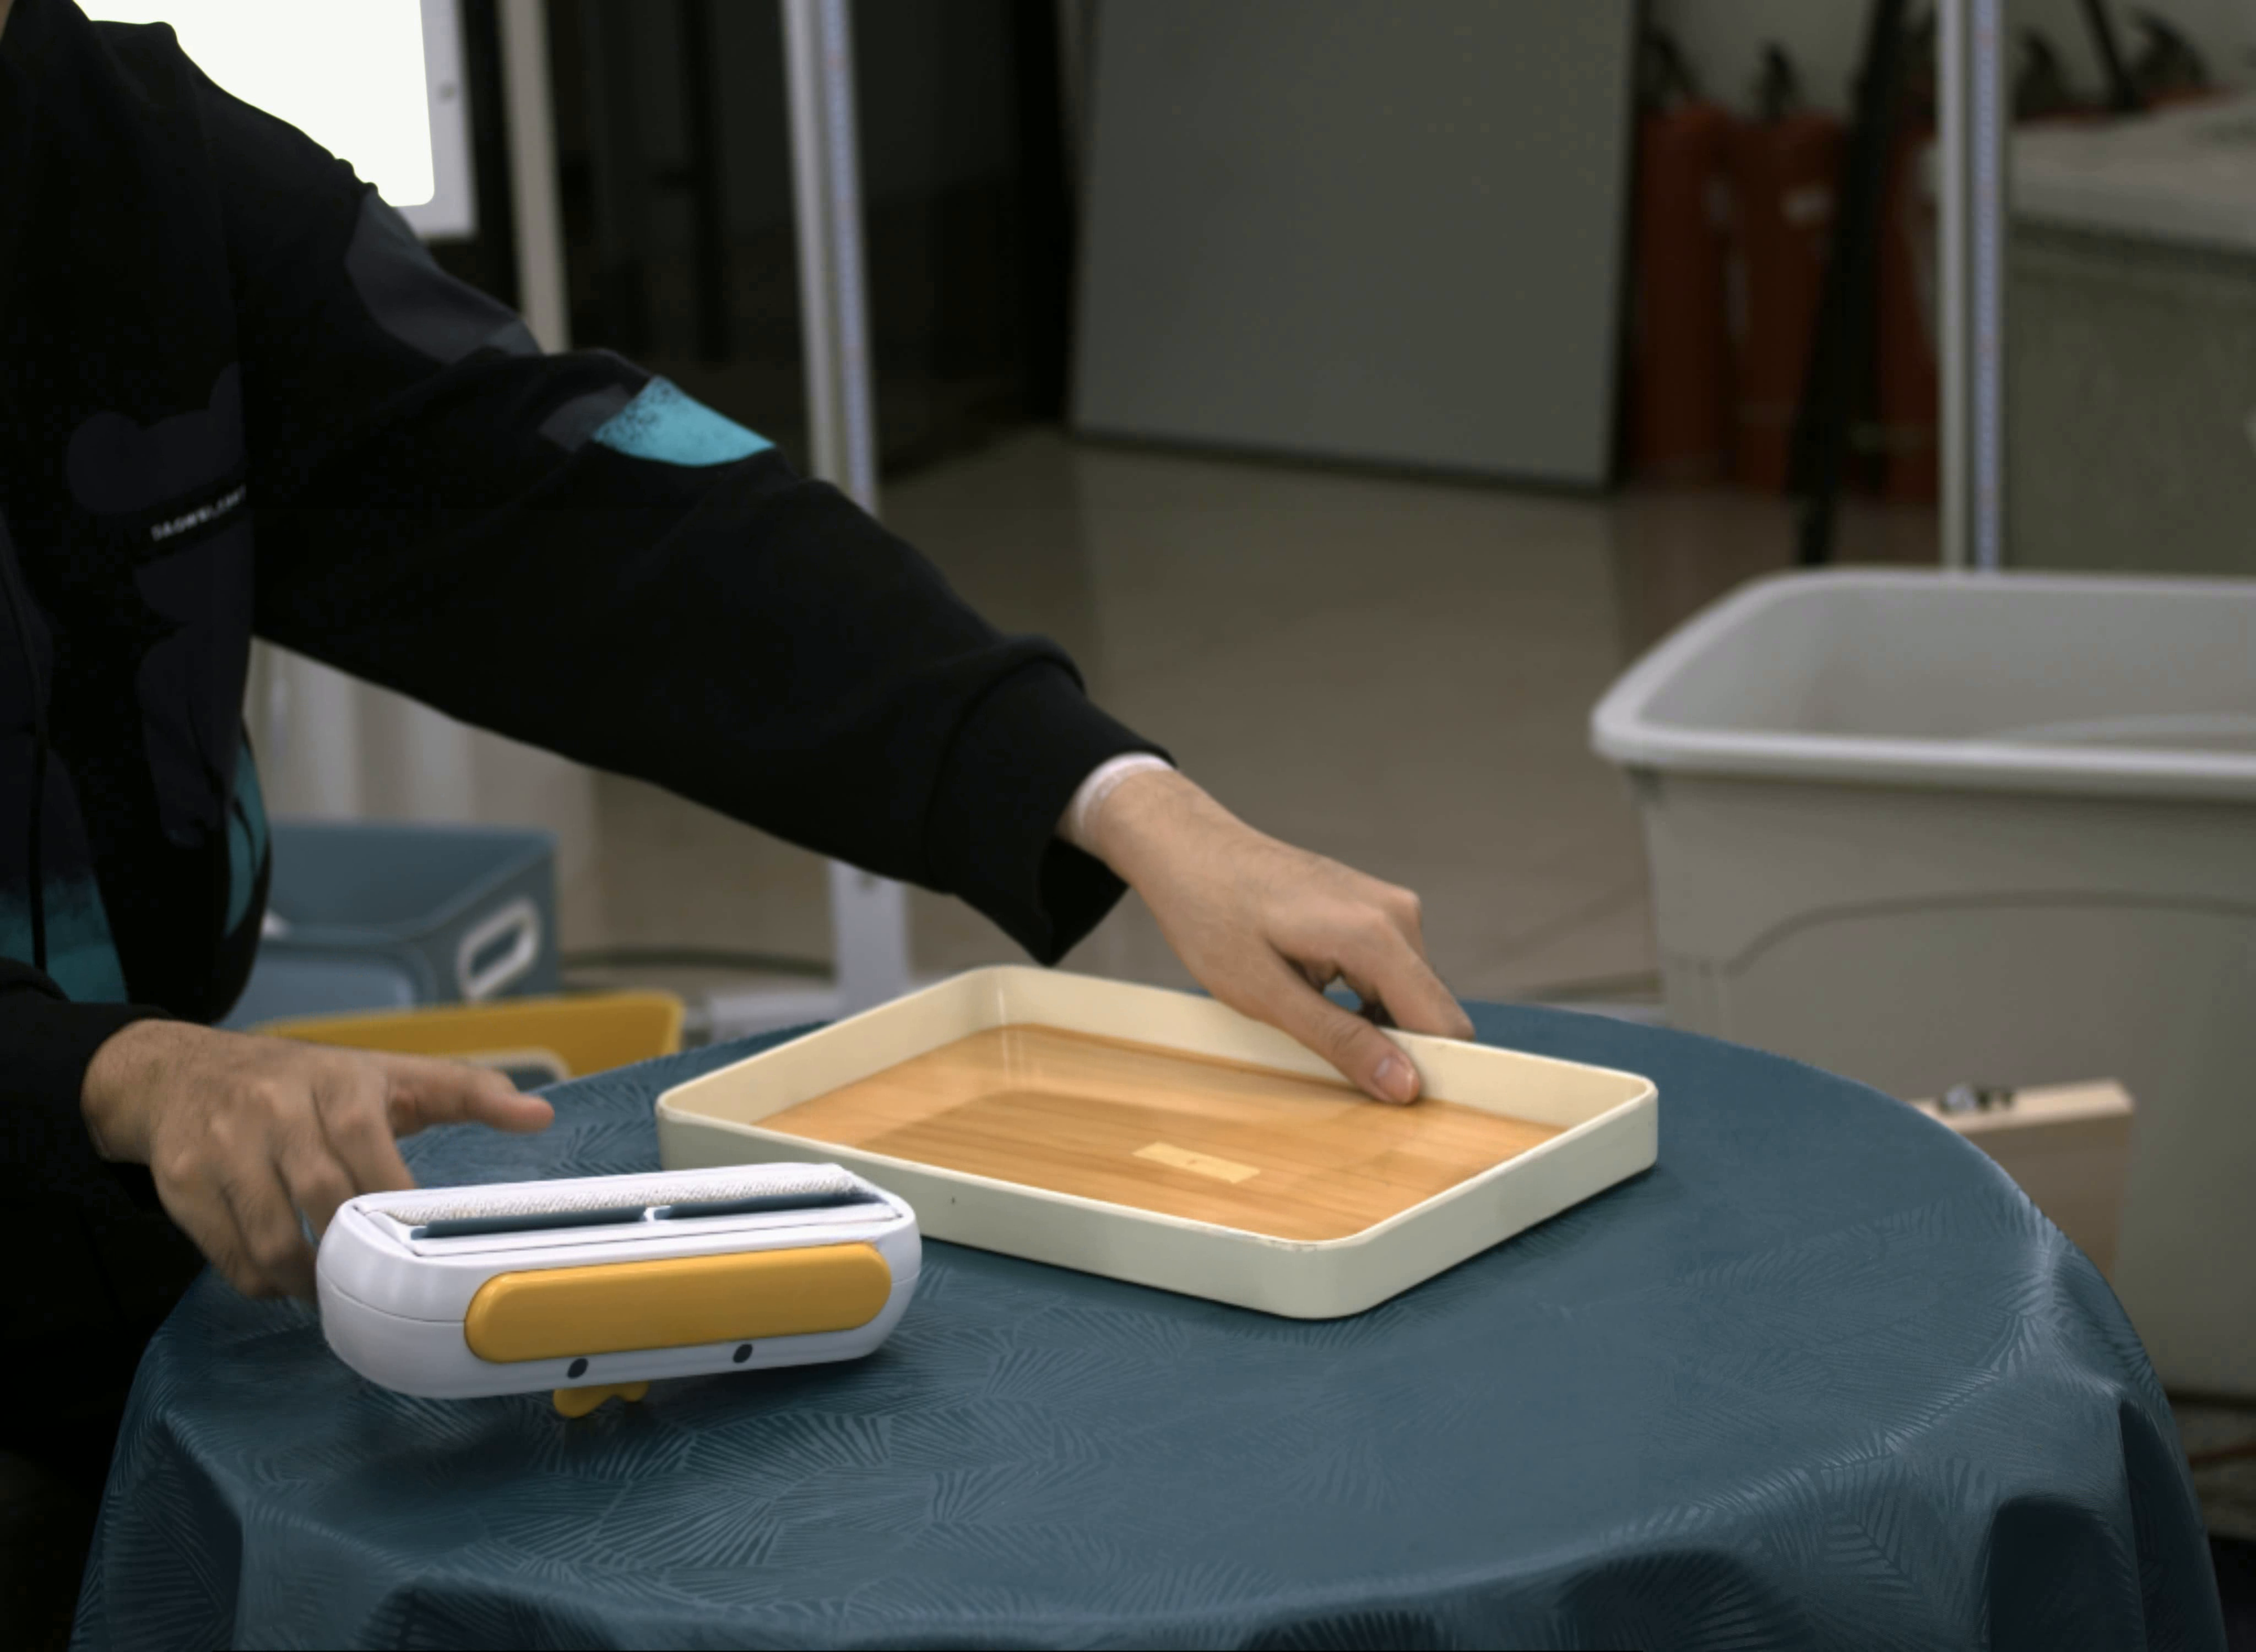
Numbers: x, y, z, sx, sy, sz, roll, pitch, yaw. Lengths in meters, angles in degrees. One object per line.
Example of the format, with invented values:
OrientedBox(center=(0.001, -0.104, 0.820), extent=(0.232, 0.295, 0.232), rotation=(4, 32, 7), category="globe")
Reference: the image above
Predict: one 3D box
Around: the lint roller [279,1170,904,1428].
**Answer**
OrientedBox(center=(-0.186, 0.132, 1.640), extent=(0.188, 0.075, 0.194), rotation=(-6, 11, -31), category="lint roller")

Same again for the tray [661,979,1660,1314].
OrientedBox(center=(0.009, 0.103, 1.786), extent=(0.303, 0.028, 0.188), rotation=(8, 18, 41), category="tray")
